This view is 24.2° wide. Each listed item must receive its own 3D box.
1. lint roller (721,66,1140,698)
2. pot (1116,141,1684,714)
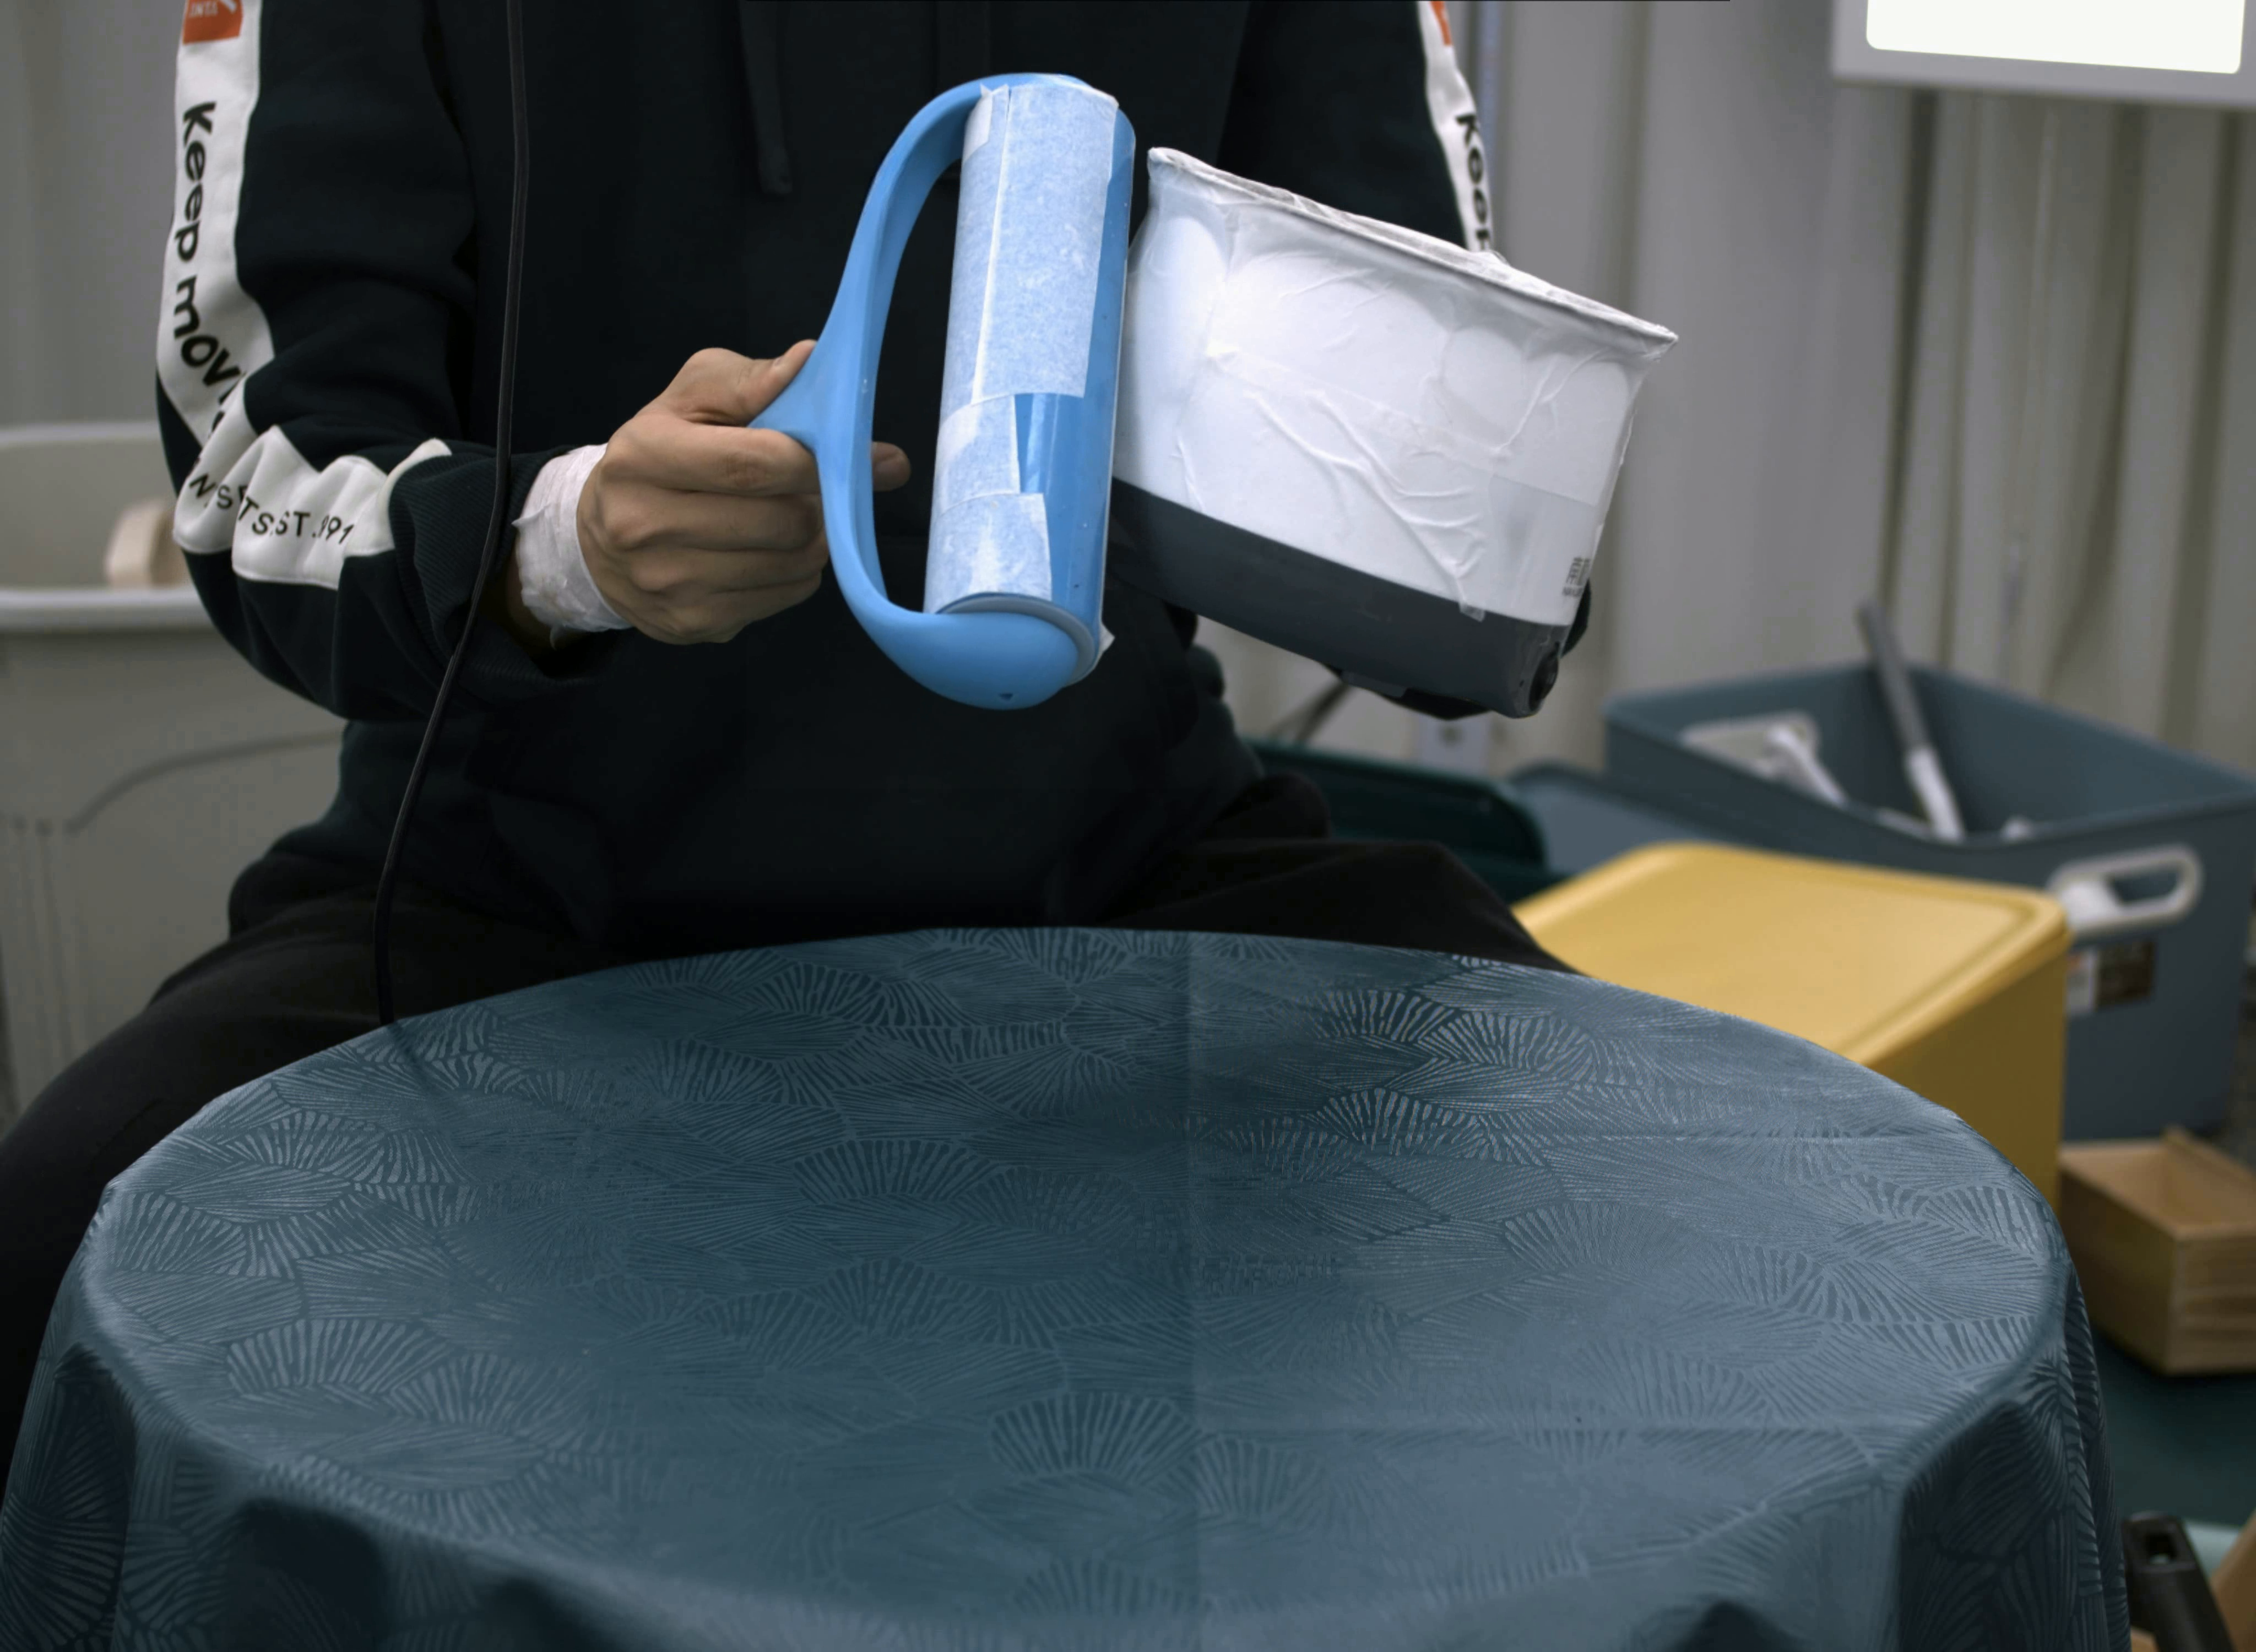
[{"bbox_3d":[-0.074,-0.118,1.626,0.179,0.227,0.069,-22,-38,30],"label":"lint roller"},{"bbox_3d":[0.078,-0.127,1.686,0.177,0.137,0.234,22,10,14],"label":"pot"}]
